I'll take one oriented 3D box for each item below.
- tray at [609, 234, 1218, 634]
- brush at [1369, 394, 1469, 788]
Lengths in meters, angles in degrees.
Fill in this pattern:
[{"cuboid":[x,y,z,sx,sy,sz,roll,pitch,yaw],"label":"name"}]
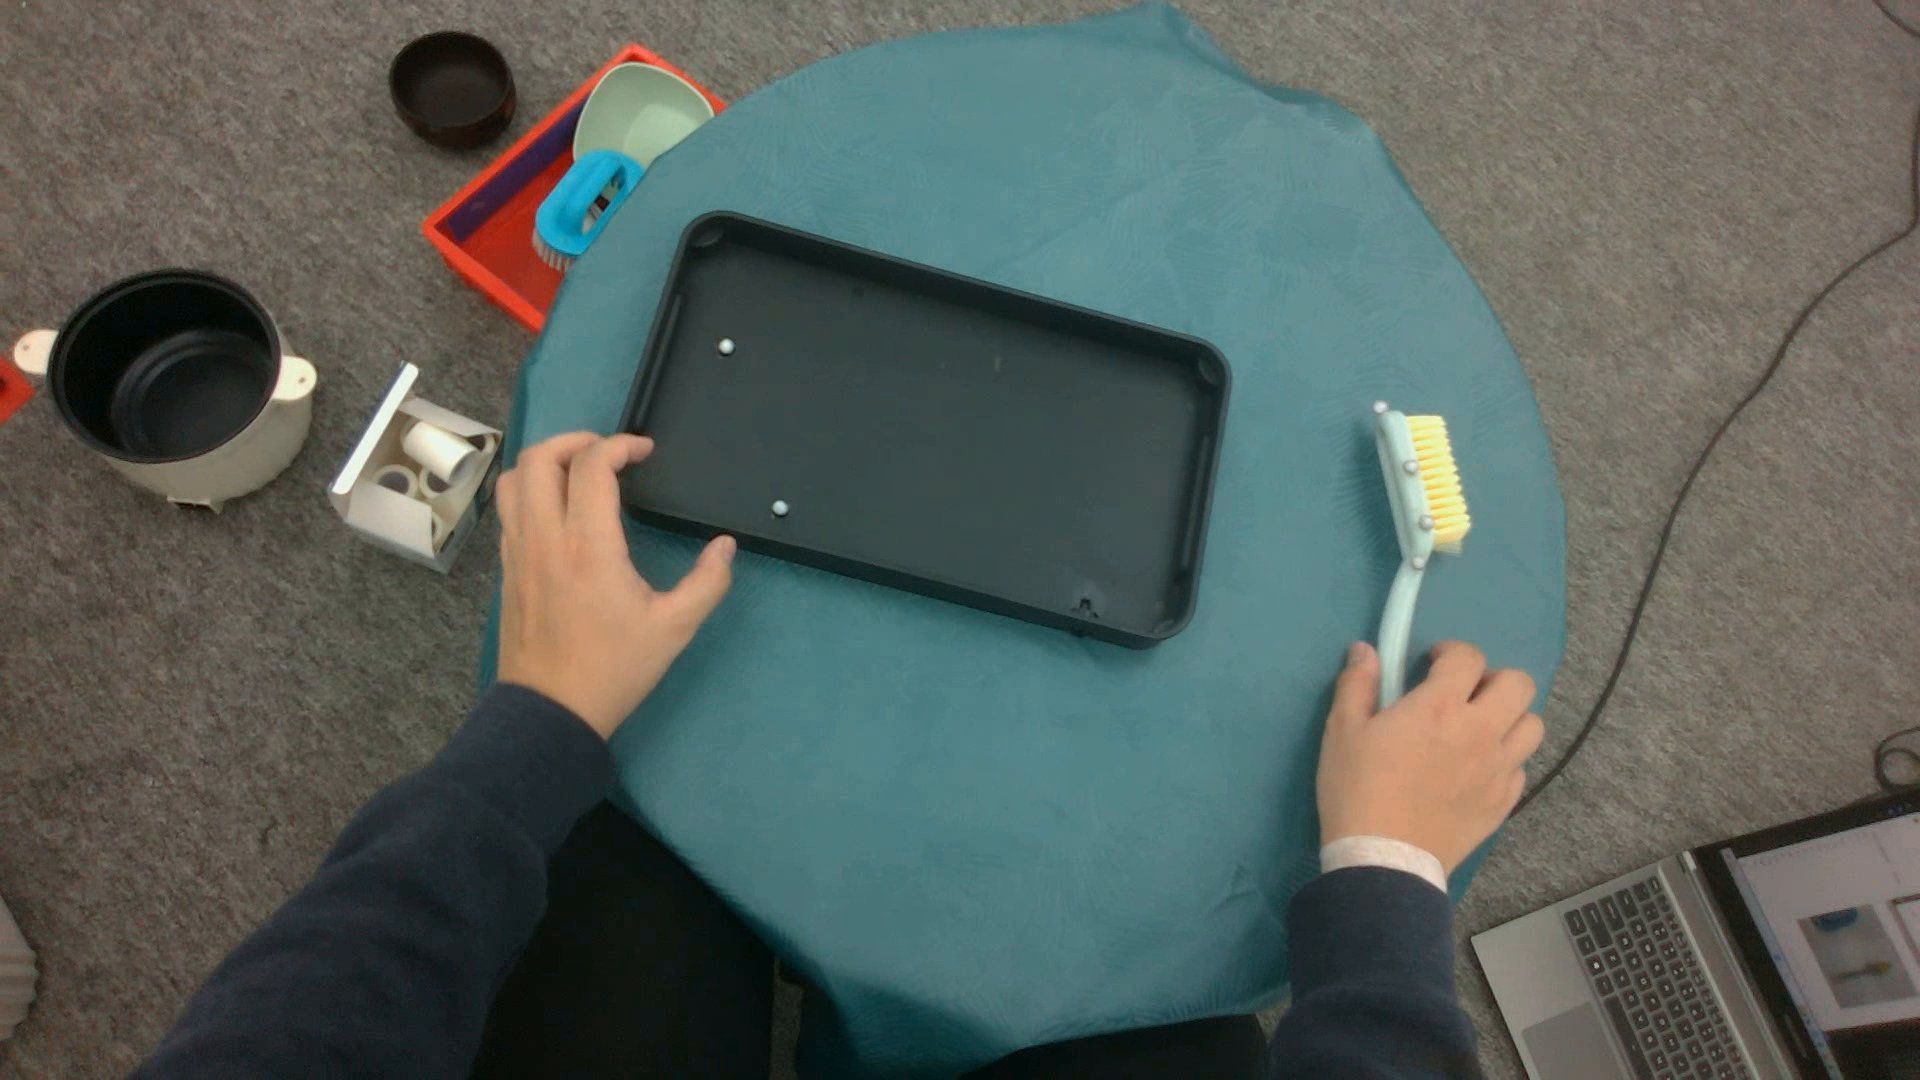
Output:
[{"cuboid":[-0.020,-0.059,0.770,0.318,0.037,0.185,10,70,-3],"label":"tray"},{"cuboid":[0.261,0.024,0.774,0.049,0.037,0.229,2,70,2],"label":"brush"}]
